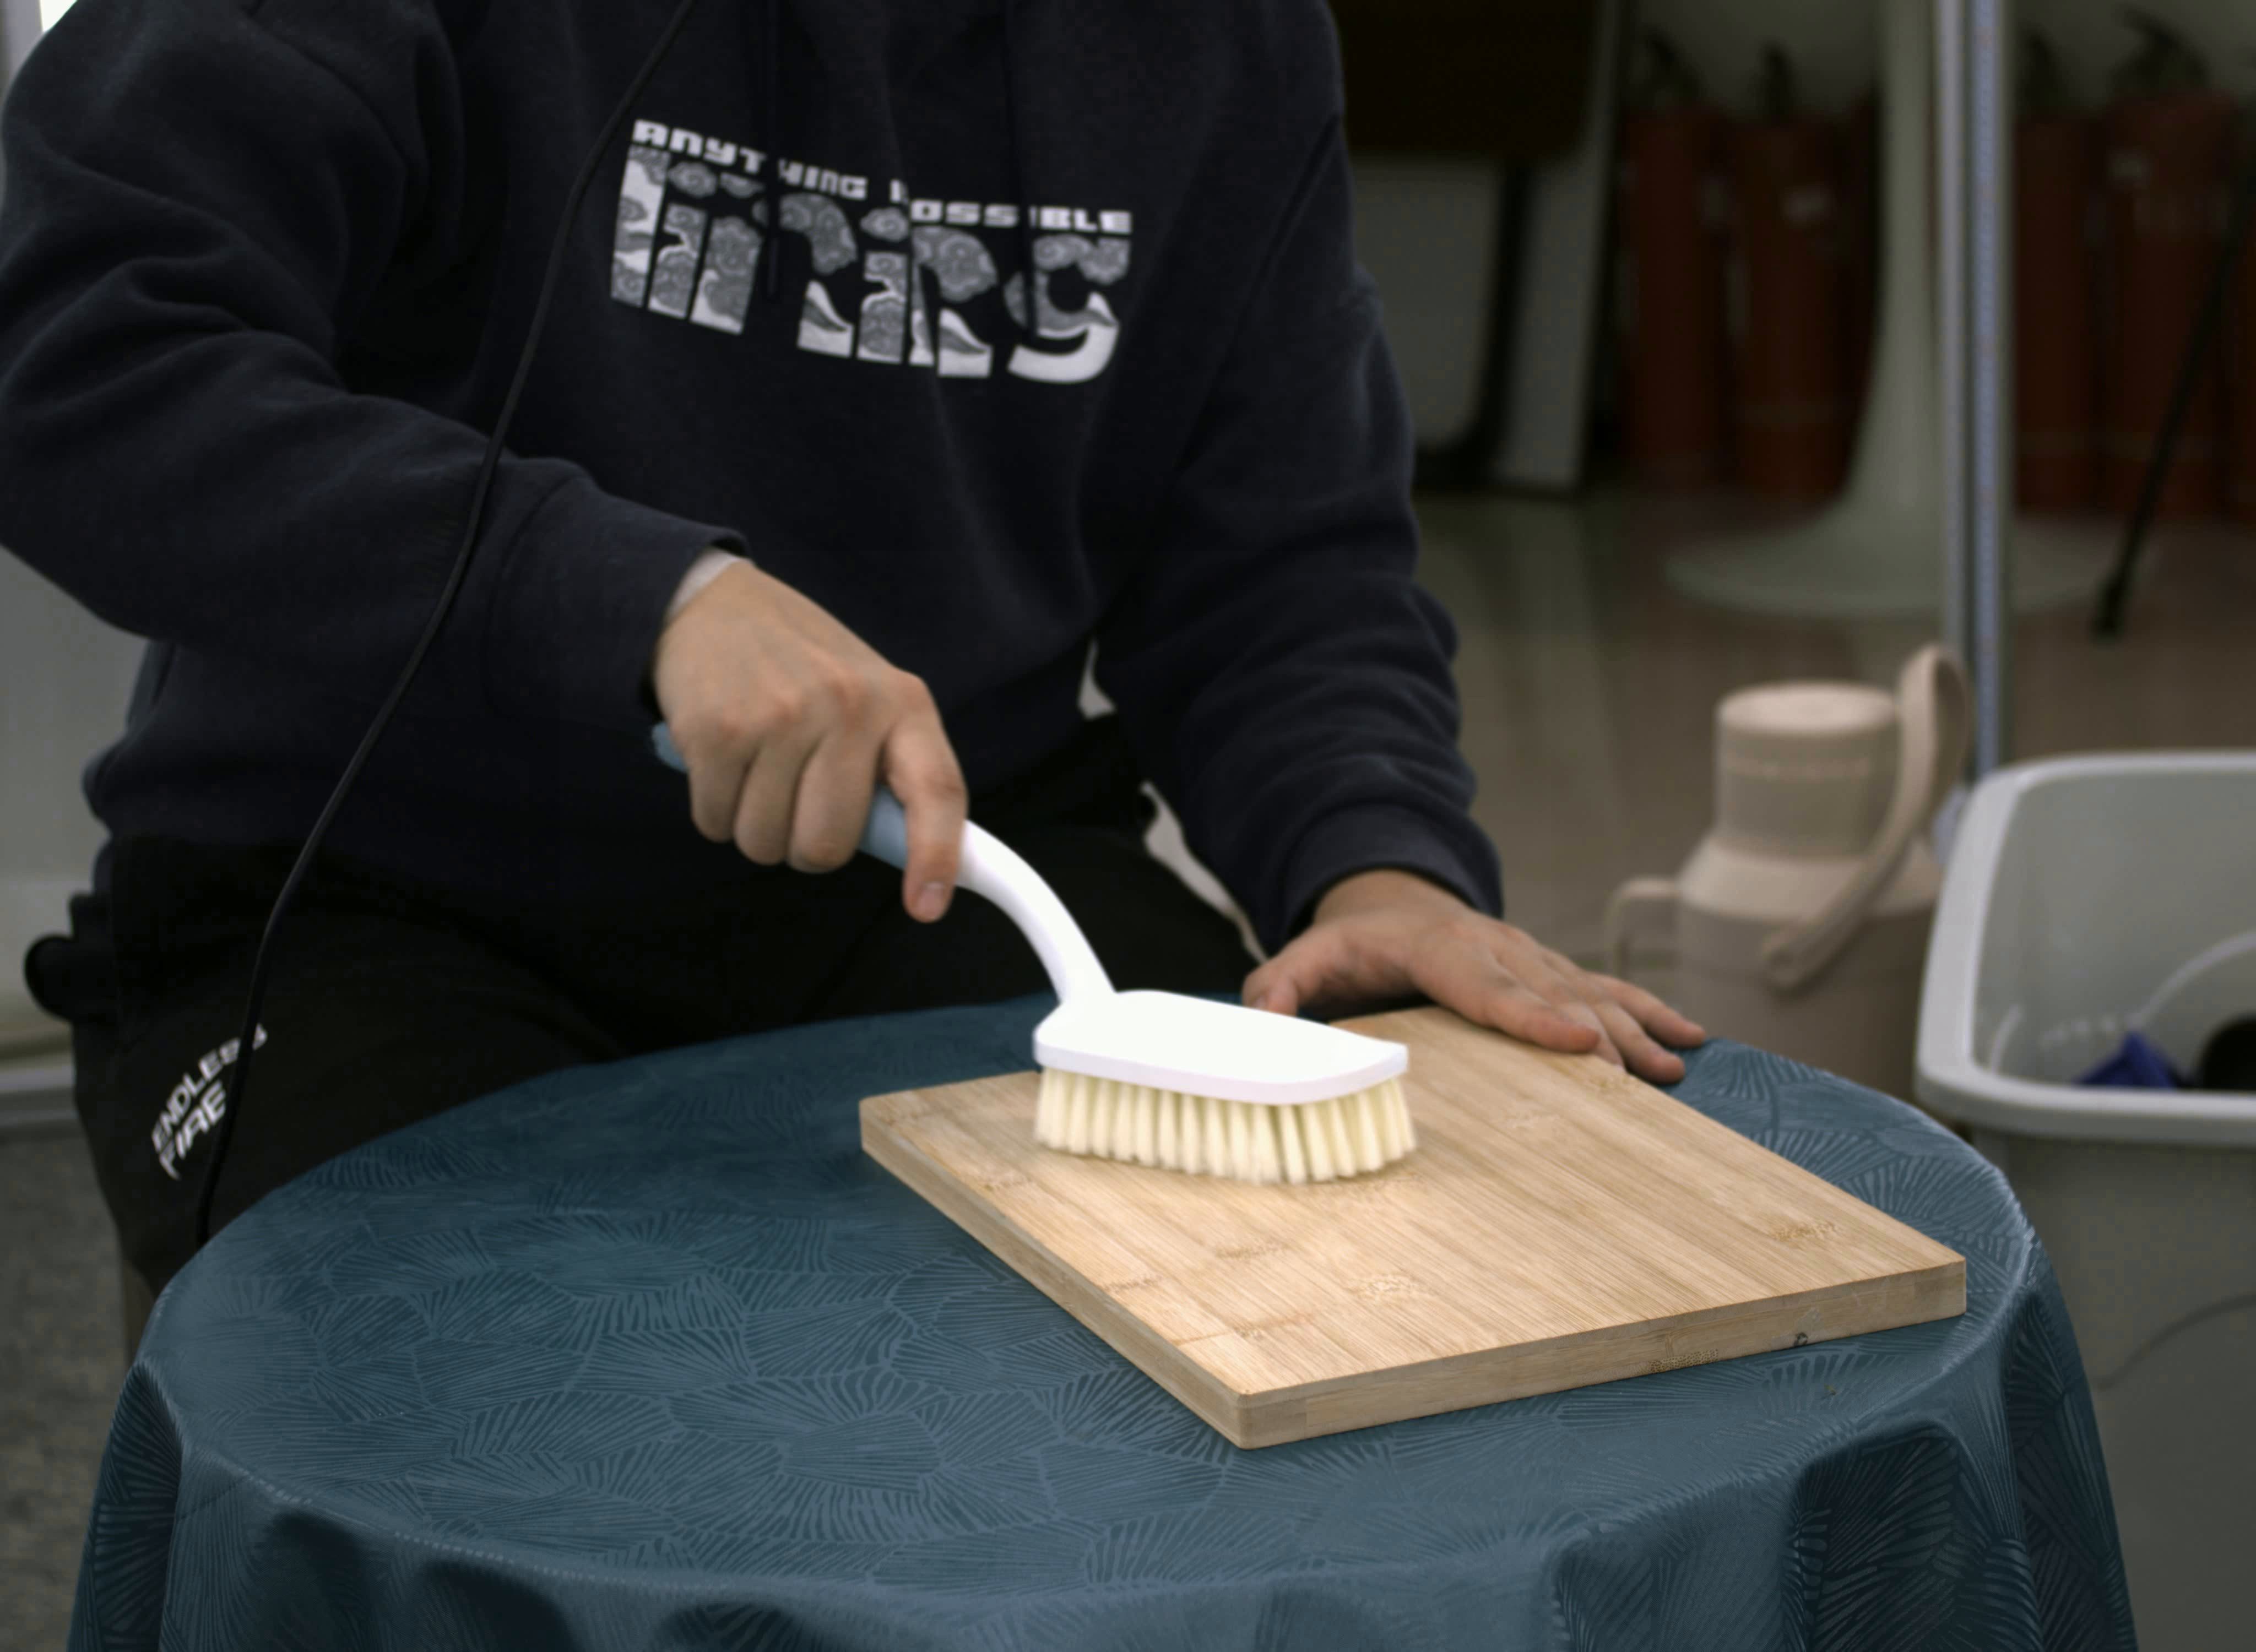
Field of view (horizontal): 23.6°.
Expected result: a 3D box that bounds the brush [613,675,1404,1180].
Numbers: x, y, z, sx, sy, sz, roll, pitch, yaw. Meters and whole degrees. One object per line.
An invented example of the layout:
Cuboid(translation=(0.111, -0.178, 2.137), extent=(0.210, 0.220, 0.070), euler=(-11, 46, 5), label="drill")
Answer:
Cuboid(translation=(-0.045, 0.047, 1.803), extent=(0.327, 0.085, 0.082), euler=(25, -7, 28), label="brush")

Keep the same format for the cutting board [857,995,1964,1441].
Cuboid(translation=(0.079, 0.119, 1.725), extent=(0.245, 0.024, 0.352), euler=(-8, 14, -20), label="cutting board")
